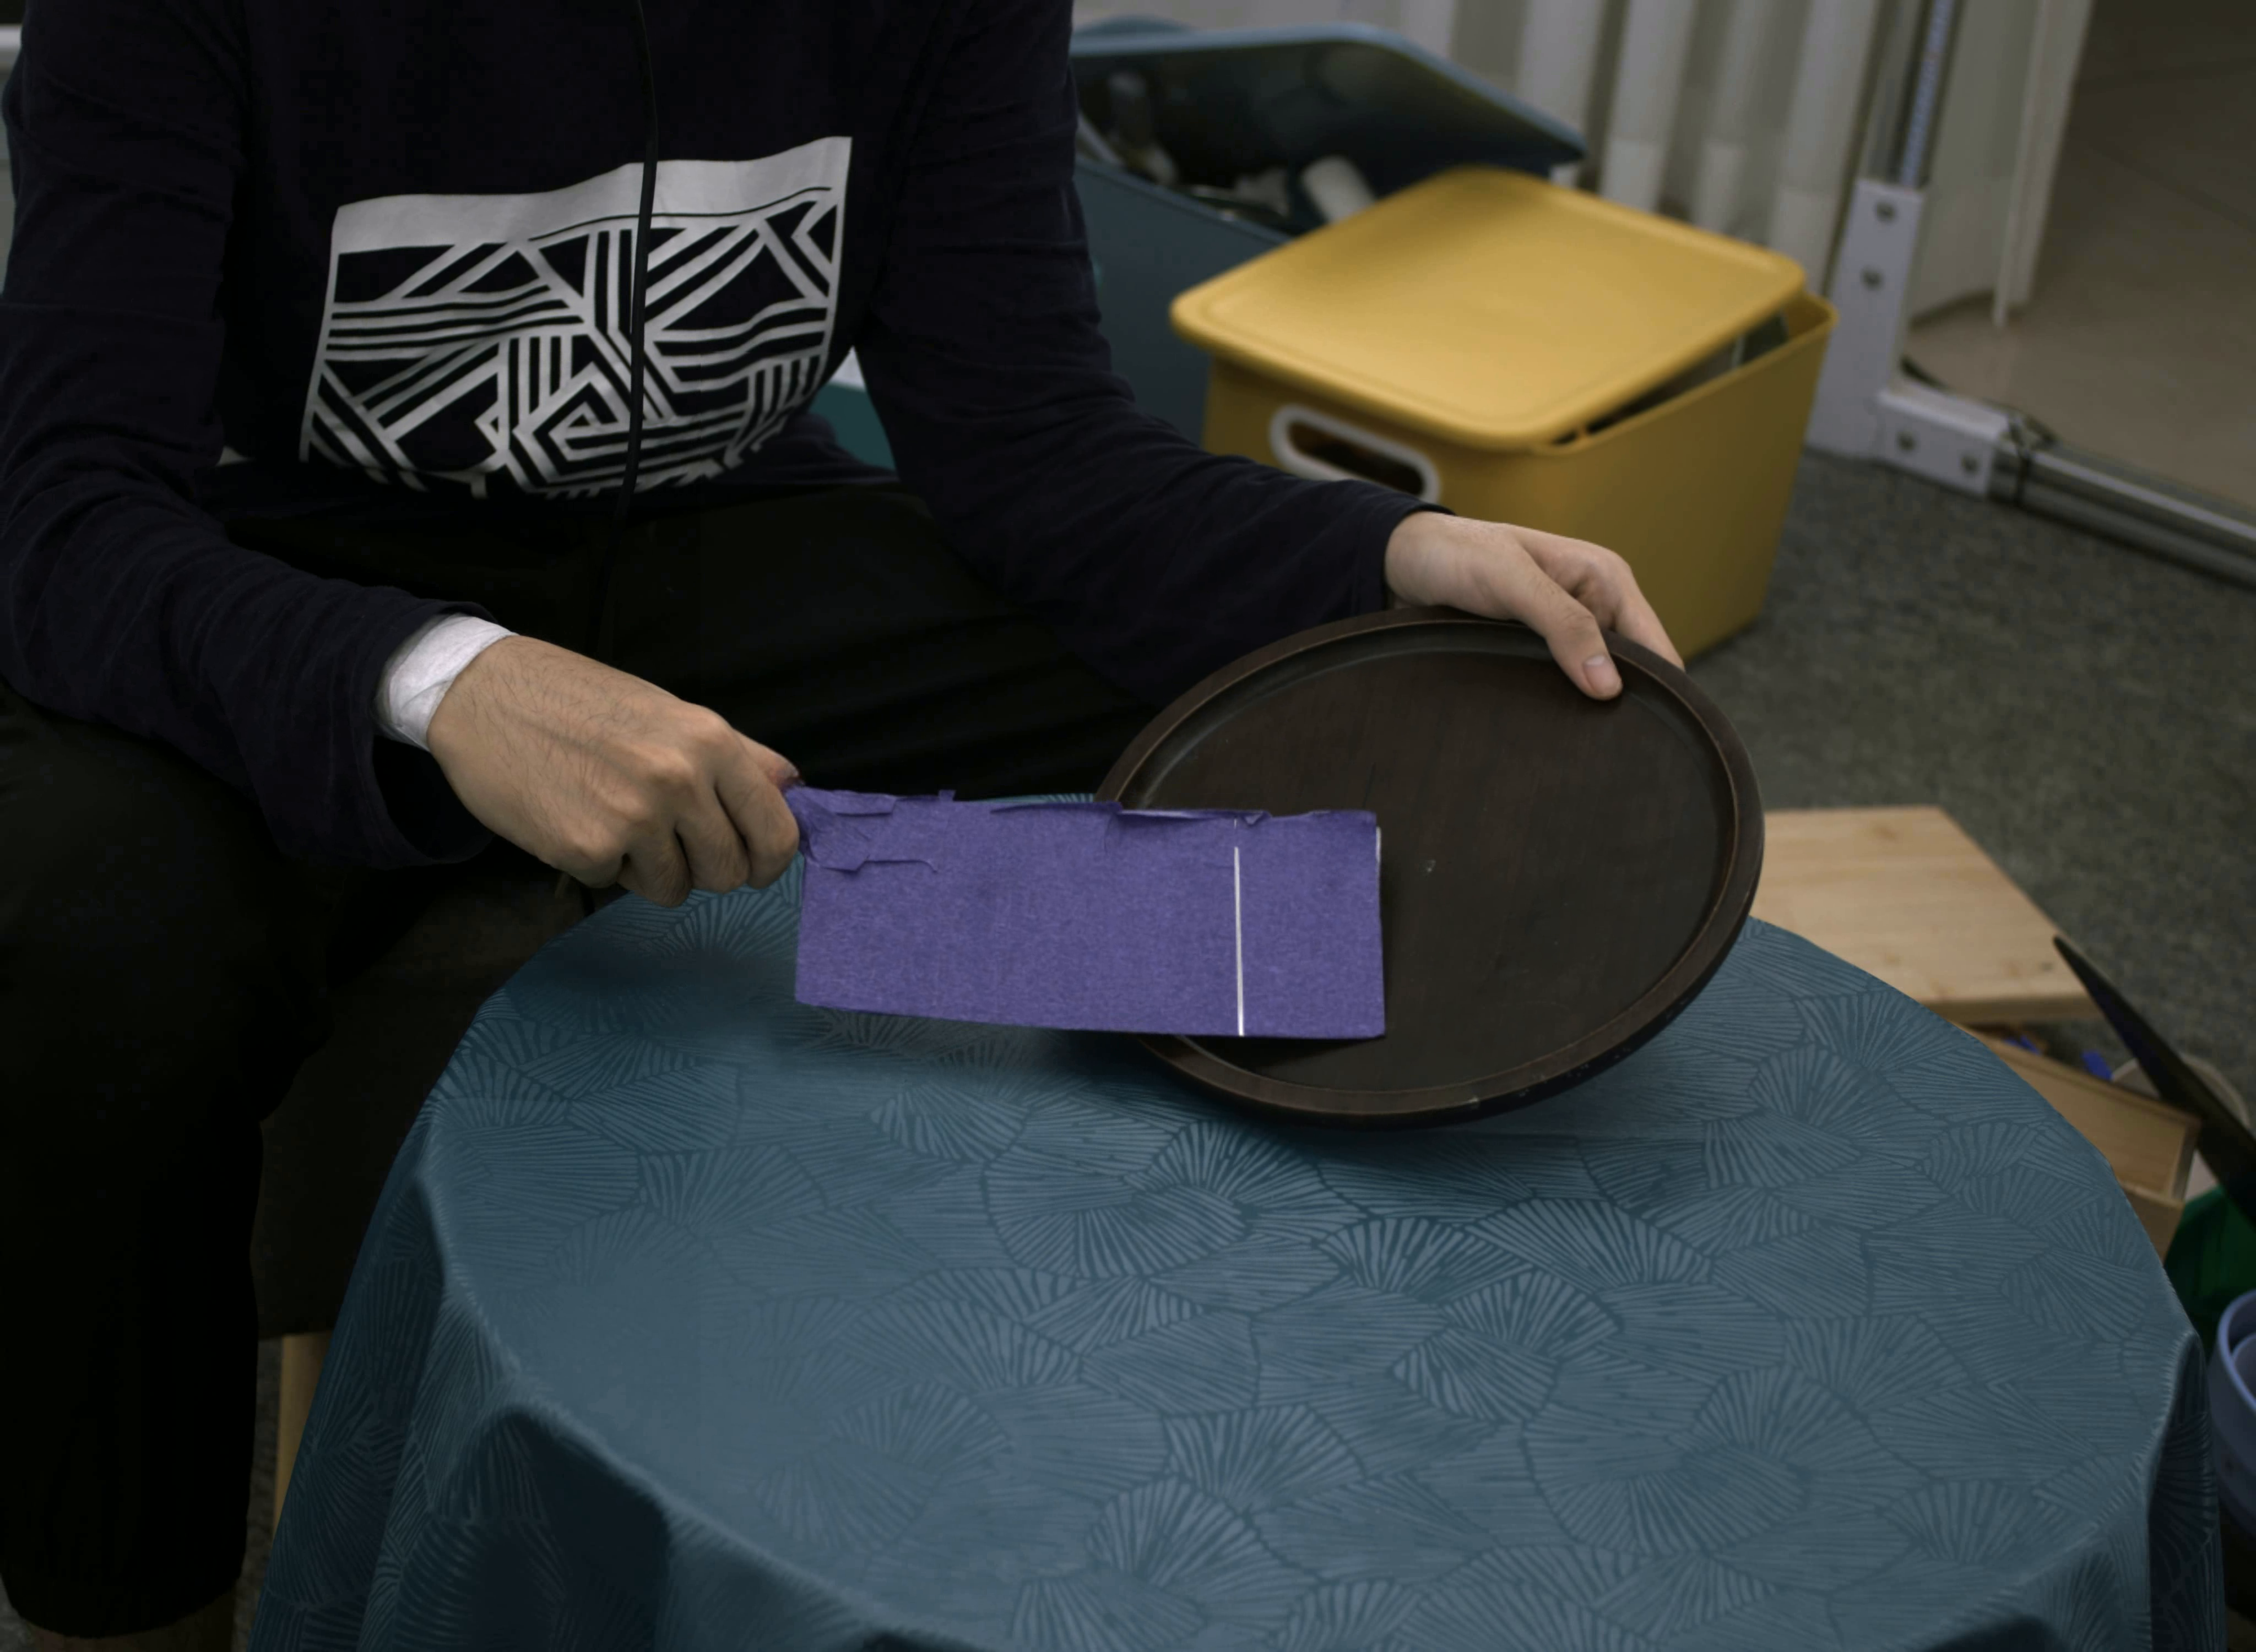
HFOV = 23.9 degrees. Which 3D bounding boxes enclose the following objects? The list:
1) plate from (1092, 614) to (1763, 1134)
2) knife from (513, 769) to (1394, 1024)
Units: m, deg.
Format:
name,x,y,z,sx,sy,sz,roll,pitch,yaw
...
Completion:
name,x,y,z,sx,sy,sz,roll,pitch,yaw
plate,0.103,0.015,1.917,0.254,0.029,0.257,-8,45,7
knife,-0.063,0.024,1.879,0.314,0.032,0.104,1,57,0
